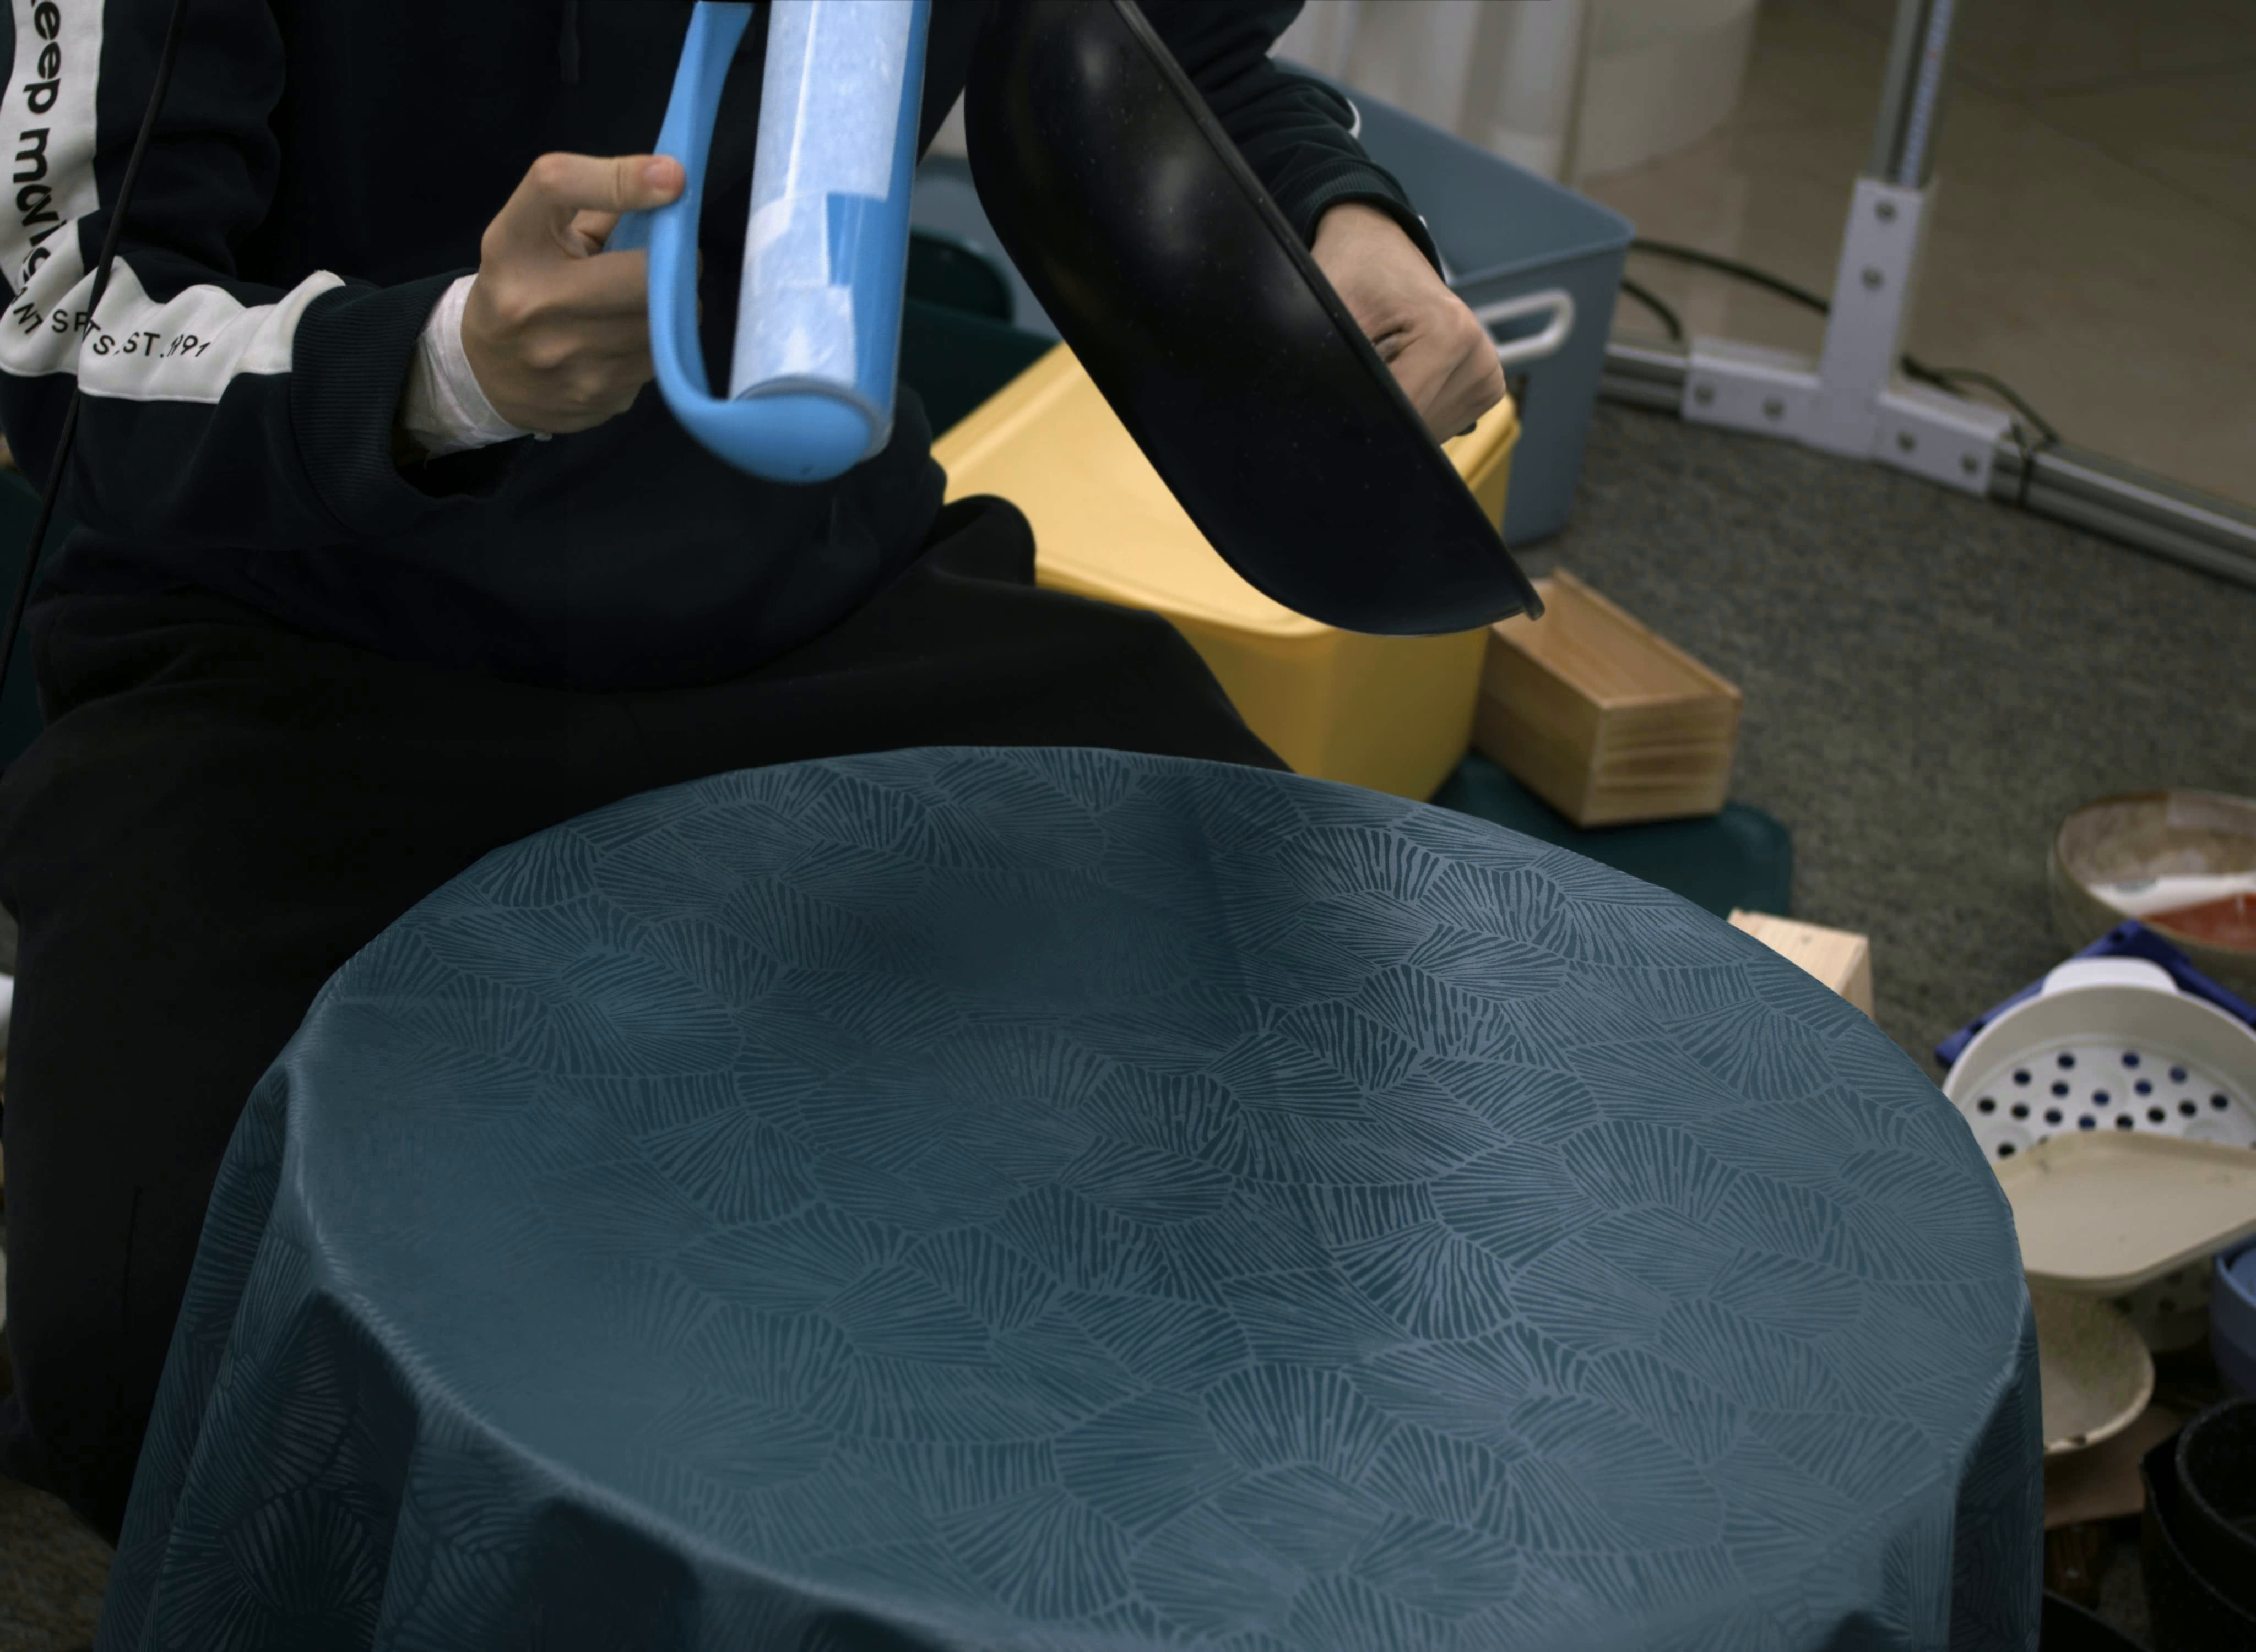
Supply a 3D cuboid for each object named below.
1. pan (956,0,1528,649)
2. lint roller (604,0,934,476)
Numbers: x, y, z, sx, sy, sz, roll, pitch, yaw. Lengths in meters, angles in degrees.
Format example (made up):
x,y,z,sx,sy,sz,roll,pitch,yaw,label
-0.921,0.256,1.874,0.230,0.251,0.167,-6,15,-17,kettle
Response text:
x,y,z,sx,sy,sz,roll,pitch,yaw,label
0.048,-0.173,1.973,0.312,0.111,0.475,58,5,12,pan
-0.137,-0.195,1.807,0.067,0.180,0.231,25,52,-35,lint roller
